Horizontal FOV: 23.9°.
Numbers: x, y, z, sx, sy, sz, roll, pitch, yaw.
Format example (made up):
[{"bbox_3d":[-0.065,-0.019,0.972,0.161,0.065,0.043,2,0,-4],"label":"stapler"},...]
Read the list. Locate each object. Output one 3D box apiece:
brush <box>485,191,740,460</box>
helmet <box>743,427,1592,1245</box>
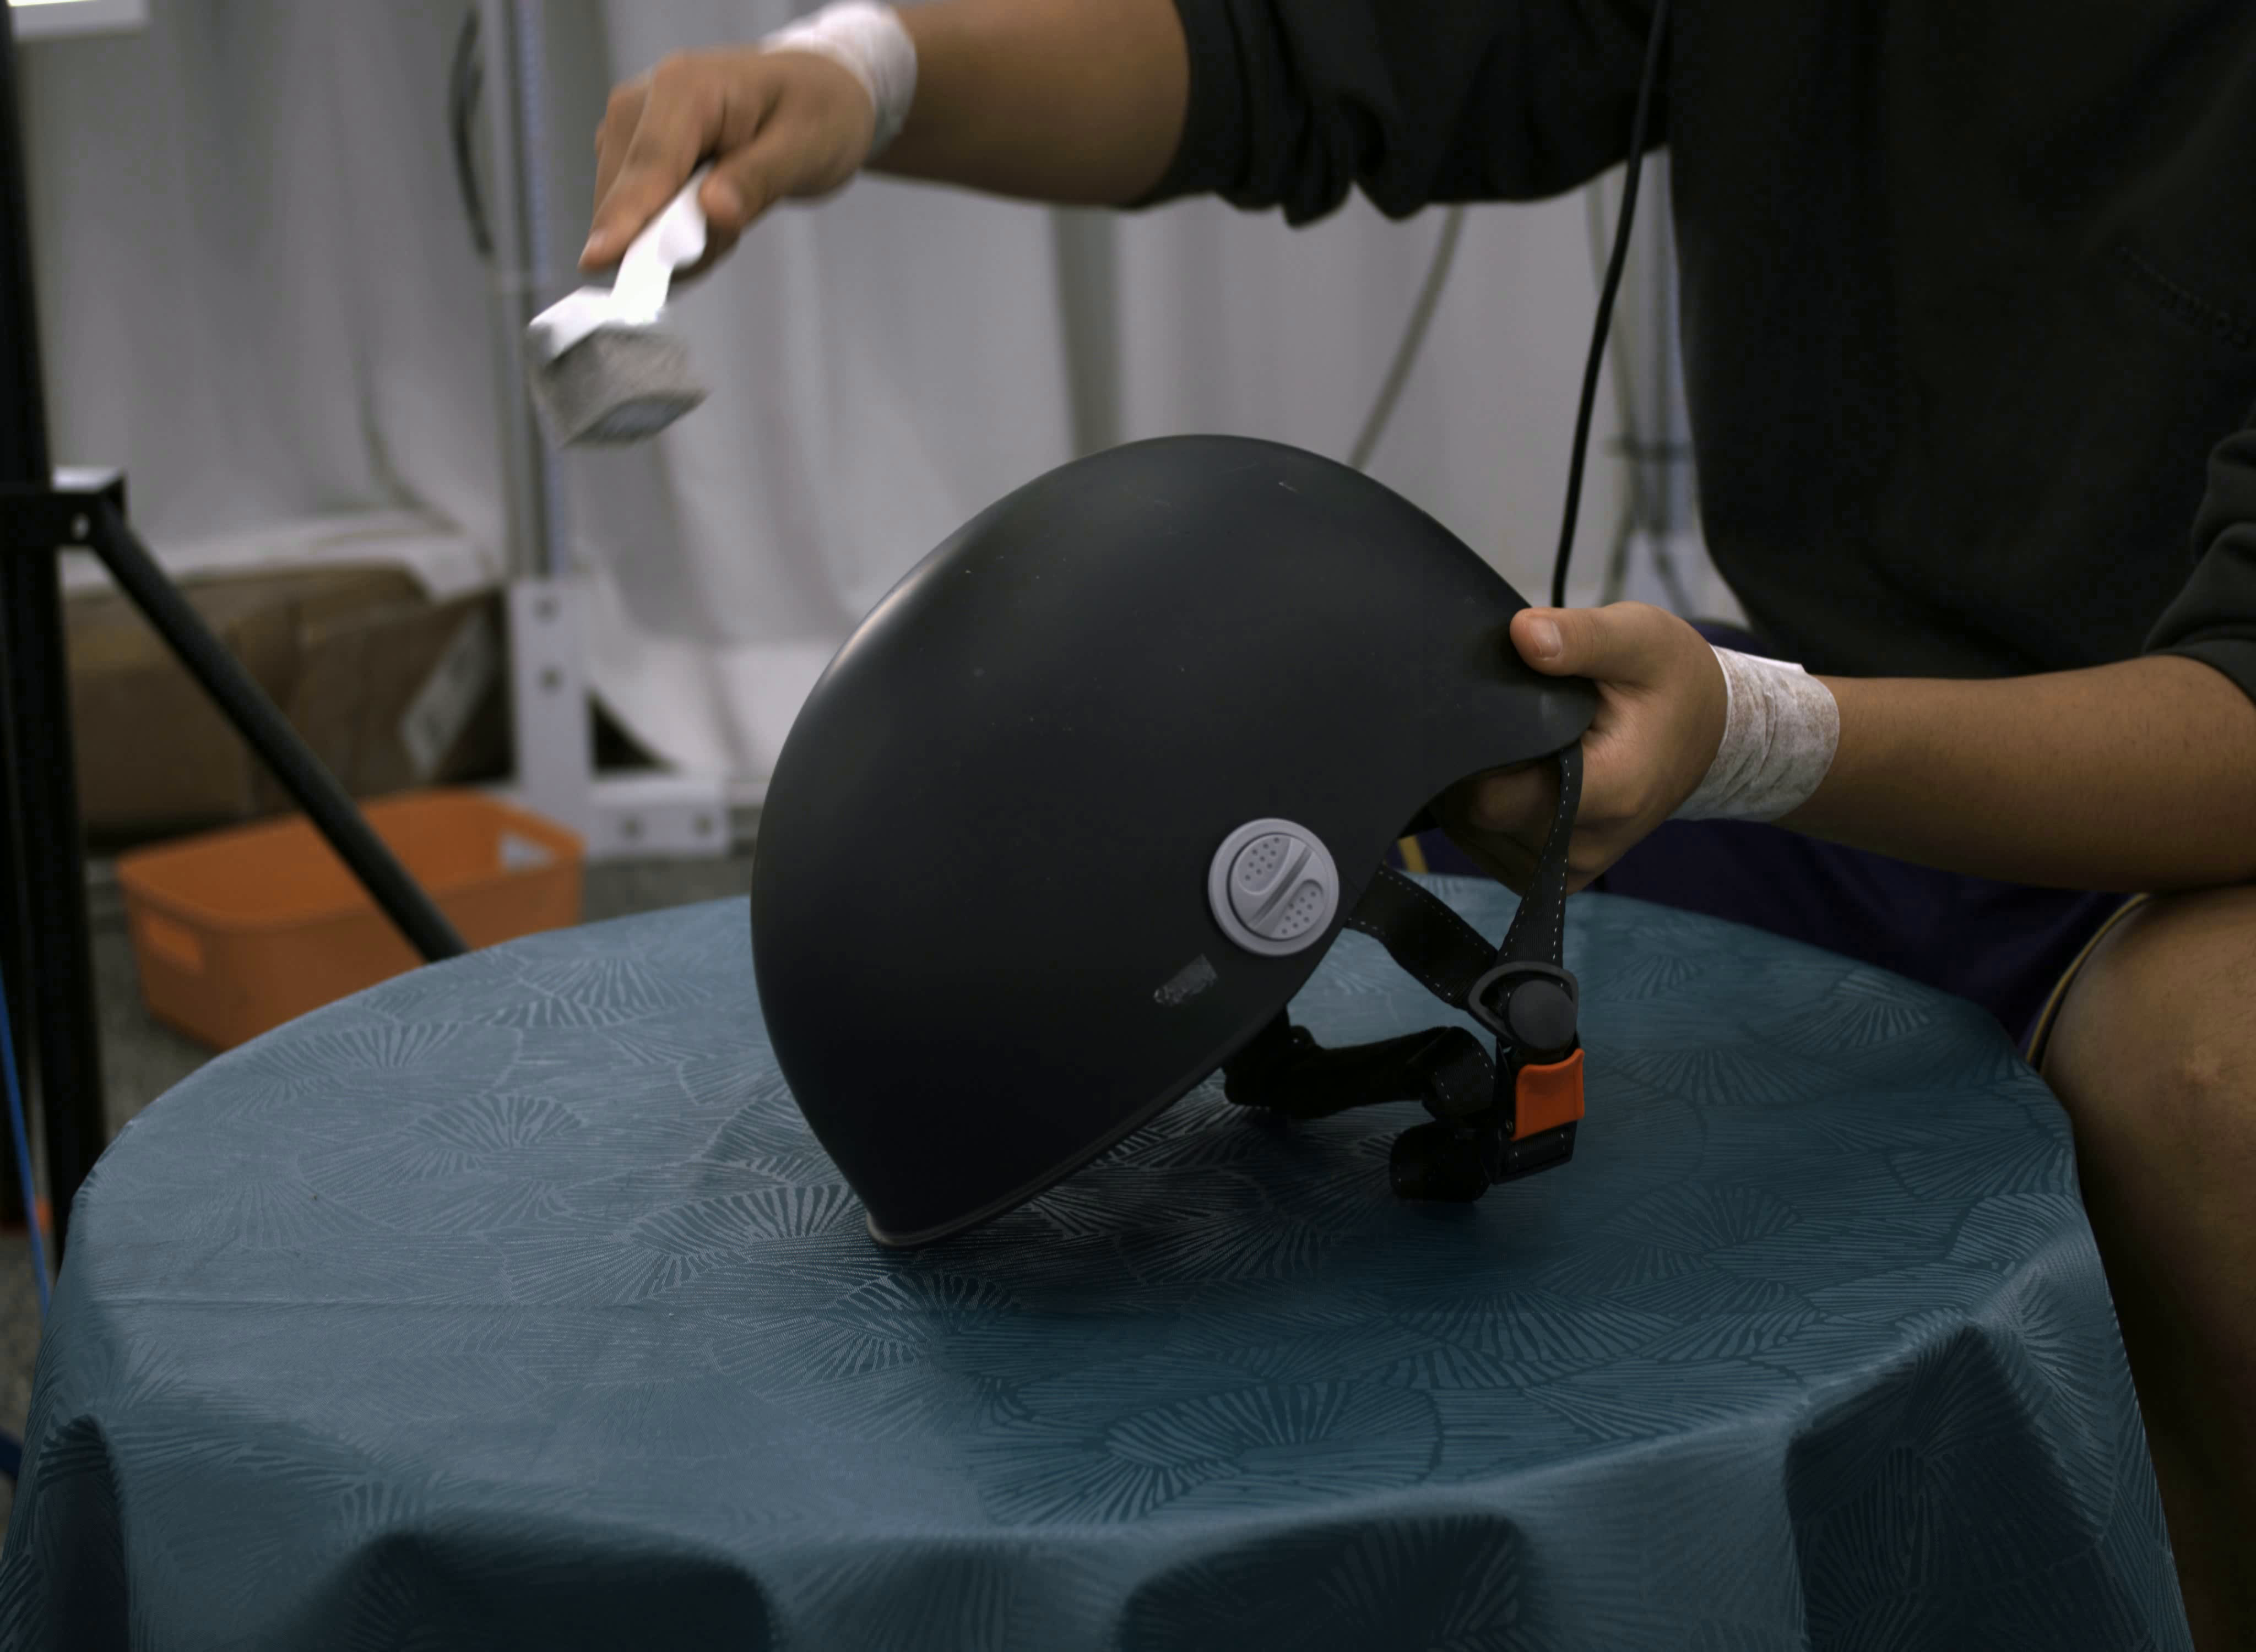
[{"bbox_3d":[-0.143,-0.153,1.636,0.034,0.050,0.243,-34,8,16],"label":"brush"},{"bbox_3d":[-0.007,-0.015,1.539,0.270,0.166,0.233,-38,8,-27],"label":"helmet"}]
